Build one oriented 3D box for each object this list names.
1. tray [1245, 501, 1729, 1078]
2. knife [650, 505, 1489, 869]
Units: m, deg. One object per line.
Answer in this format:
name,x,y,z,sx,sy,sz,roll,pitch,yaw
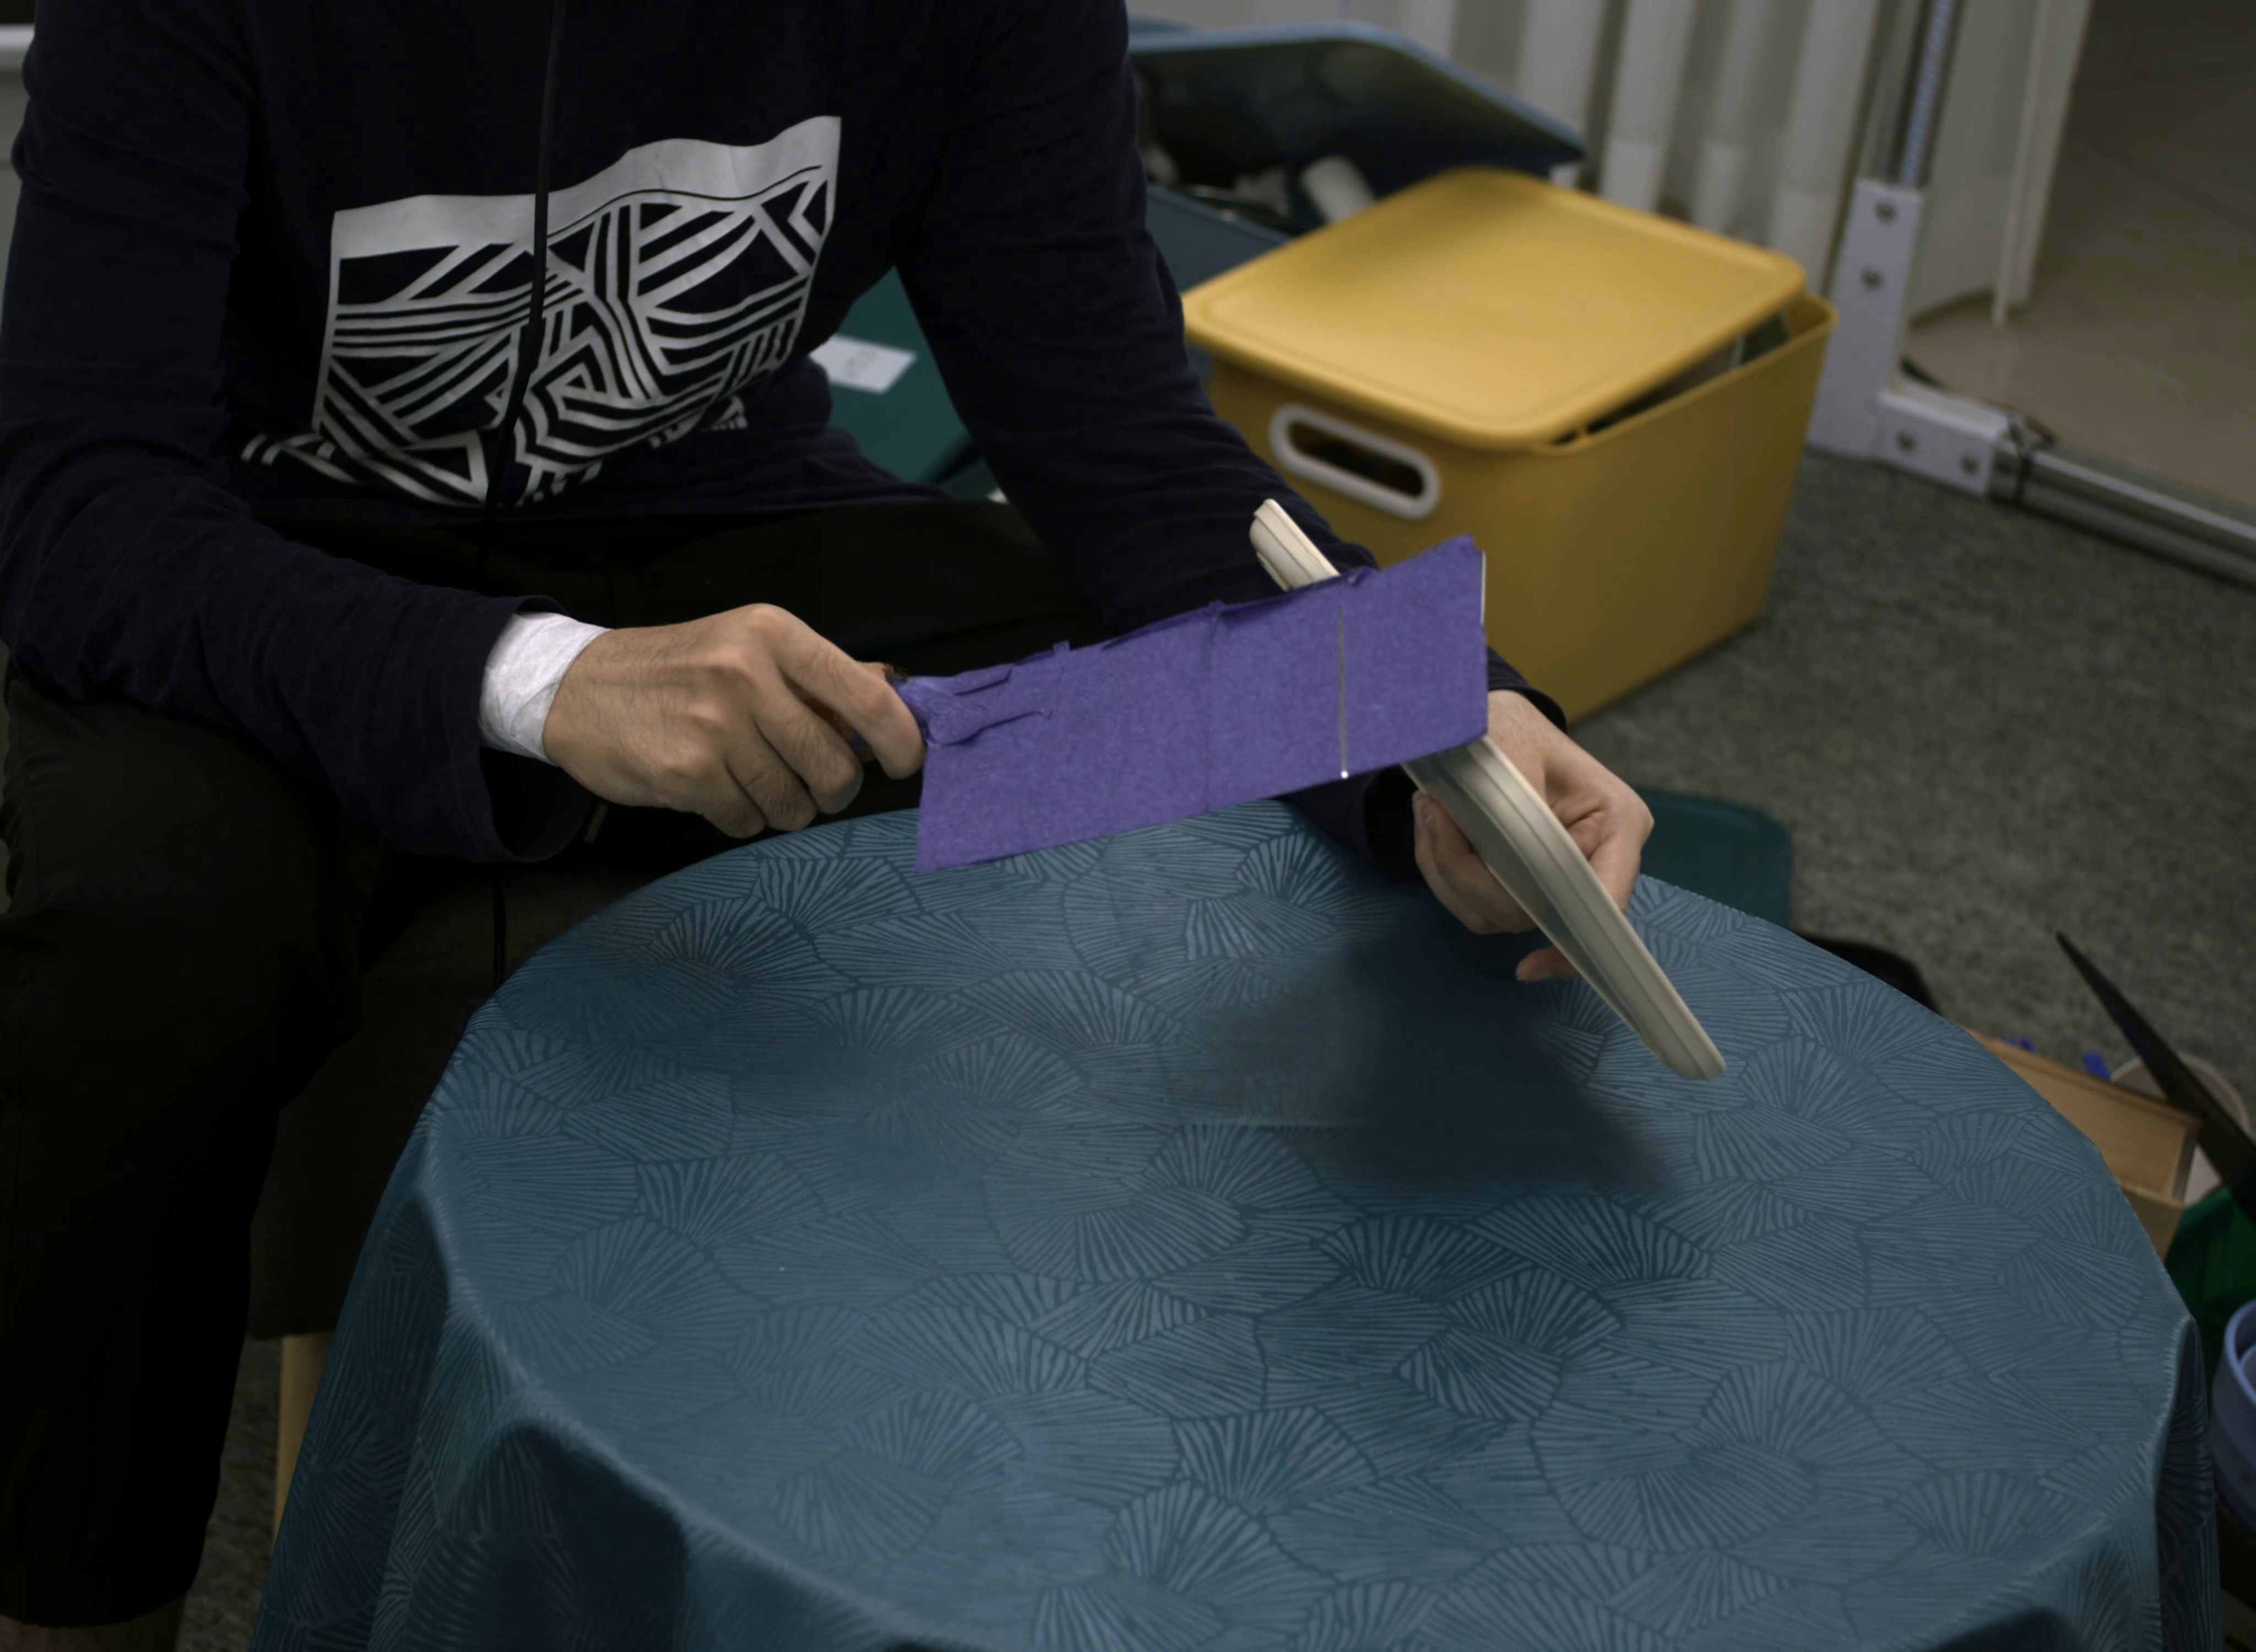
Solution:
tray,0.122,-0.012,1.869,0.017,0.170,0.242,-38,38,0
knife,-0.025,-0.033,1.817,0.315,0.032,0.104,-16,43,21
